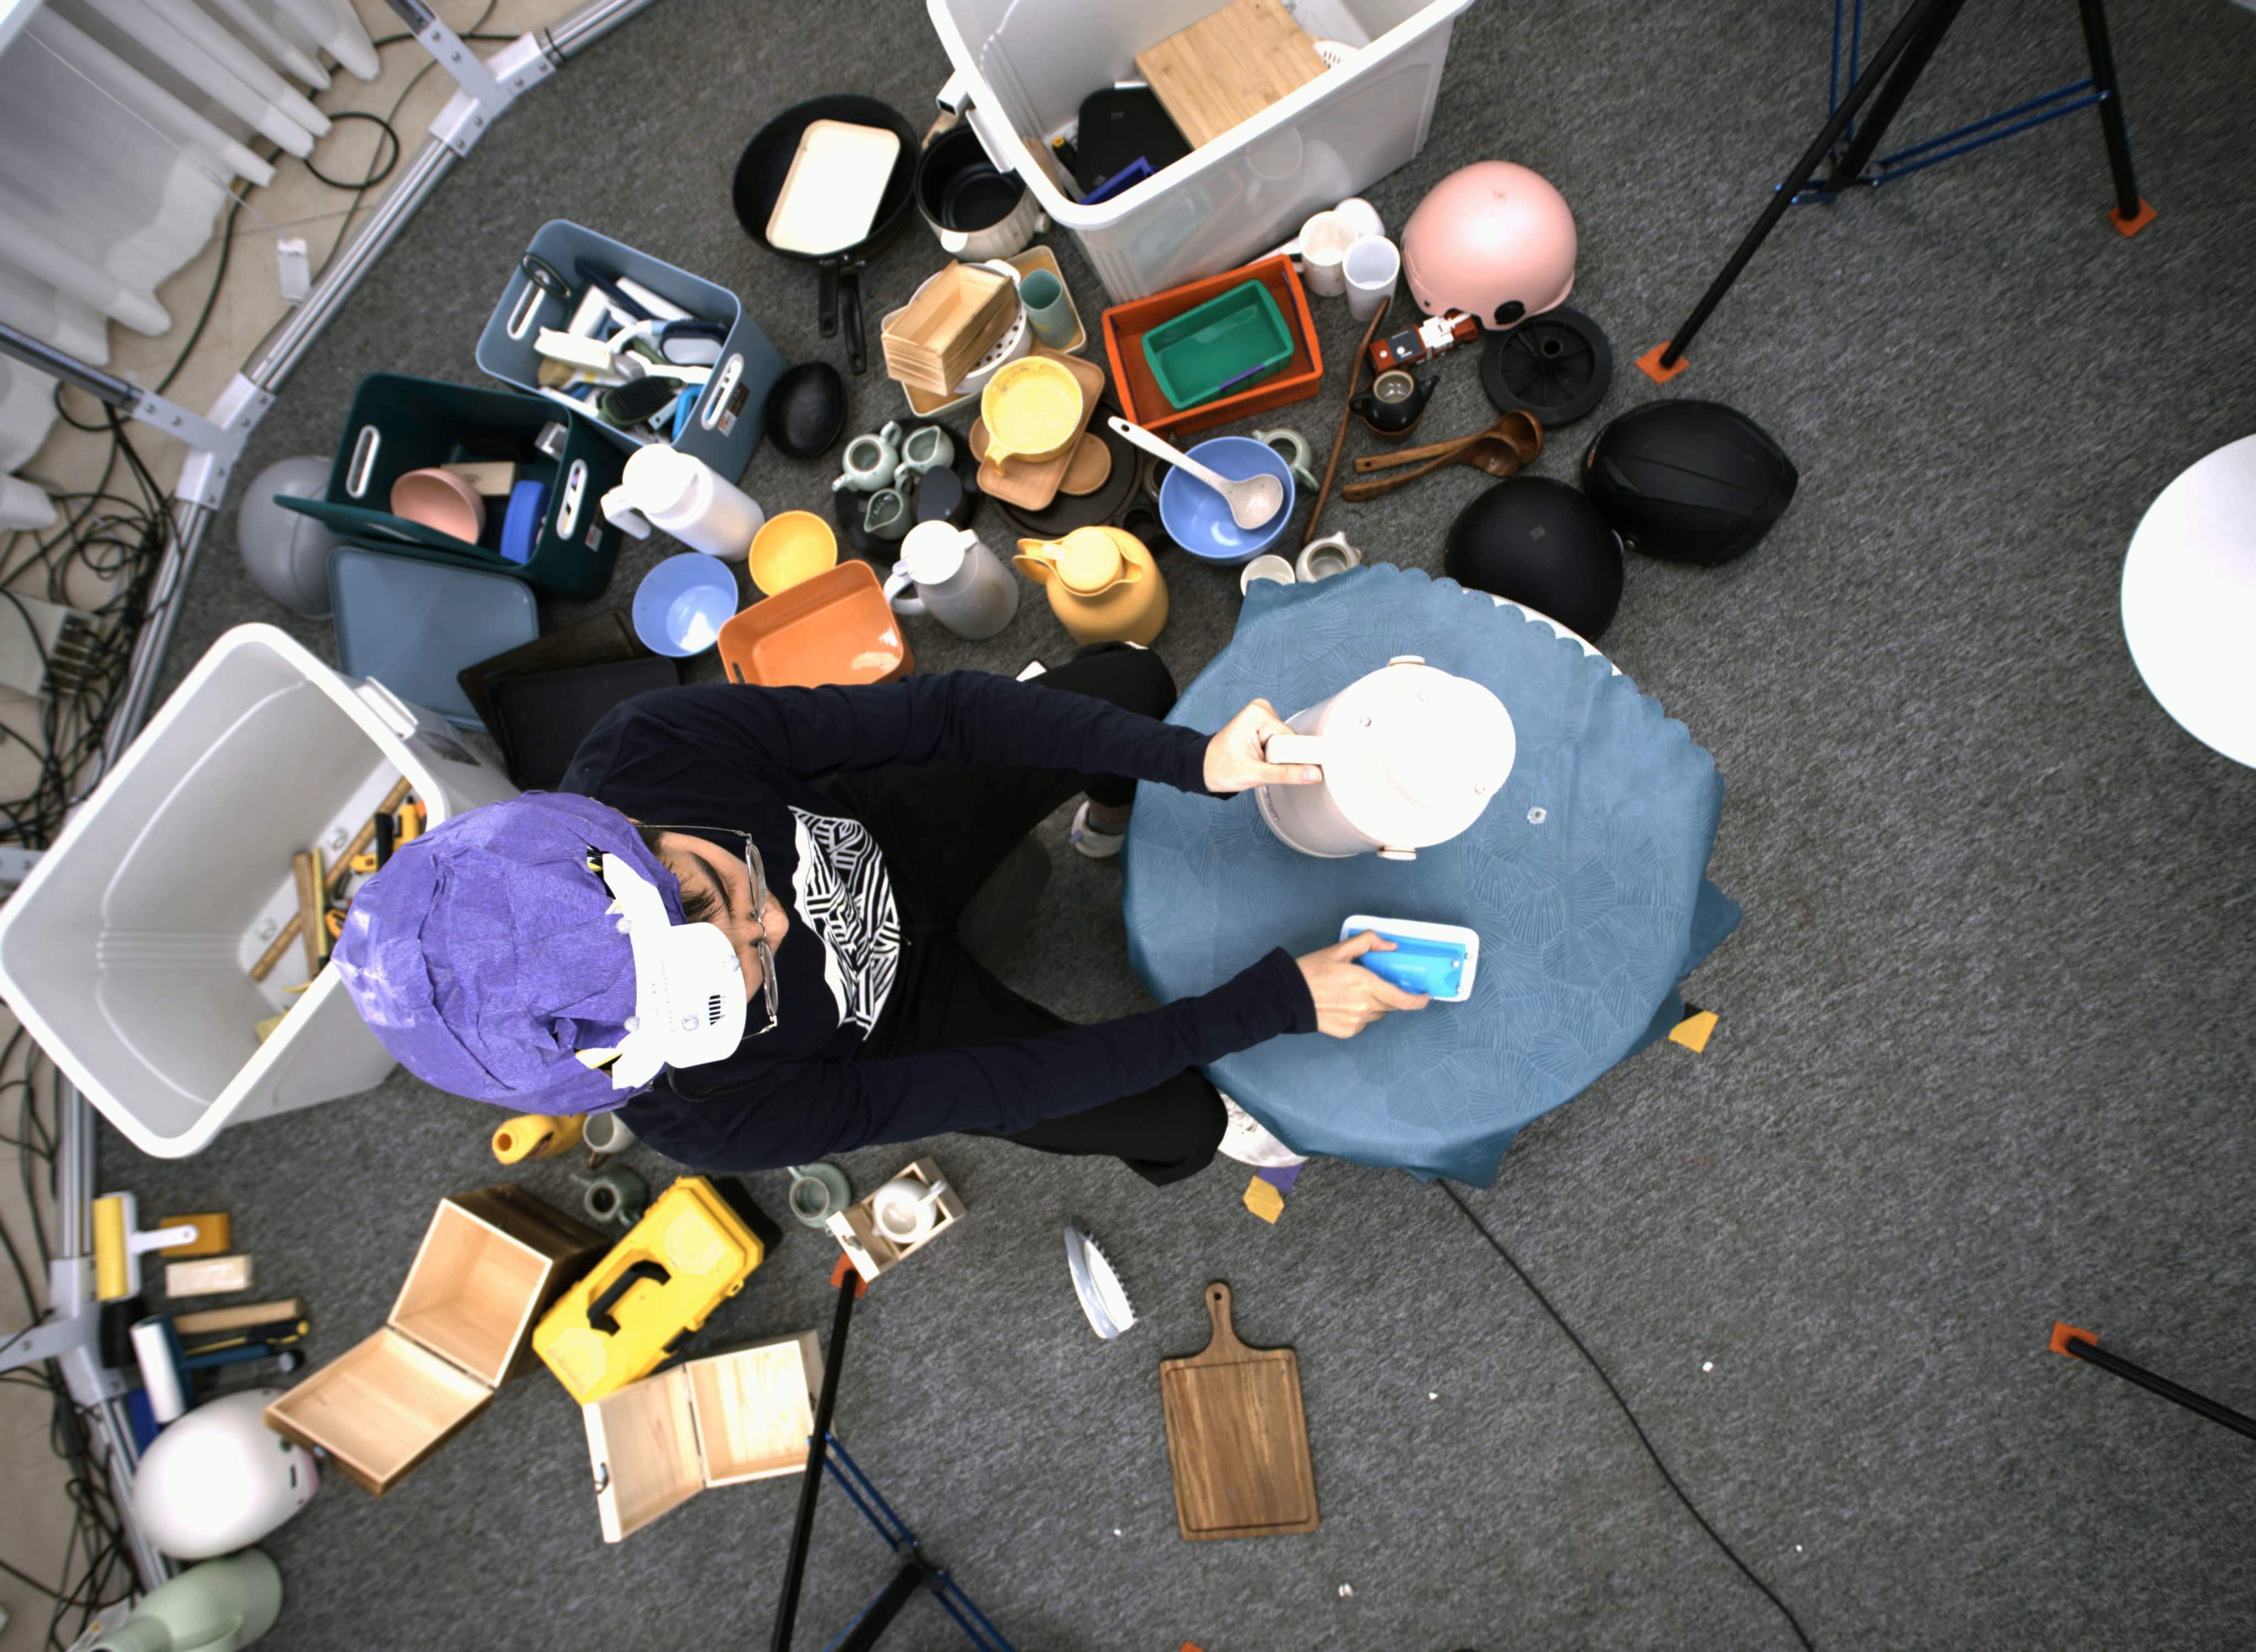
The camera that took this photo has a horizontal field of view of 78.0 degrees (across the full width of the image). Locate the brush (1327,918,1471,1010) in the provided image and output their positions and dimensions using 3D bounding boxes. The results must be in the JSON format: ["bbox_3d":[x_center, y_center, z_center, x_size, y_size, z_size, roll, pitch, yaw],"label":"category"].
[{"bbox_3d":[0.277,0.143,1.408,0.144,0.055,0.085,7,103,5],"label":"brush"}]

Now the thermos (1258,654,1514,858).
[{"bbox_3d":[0.218,-0.060,1.257,0.207,0.406,0.175,2,89,-5],"label":"thermos"}]
